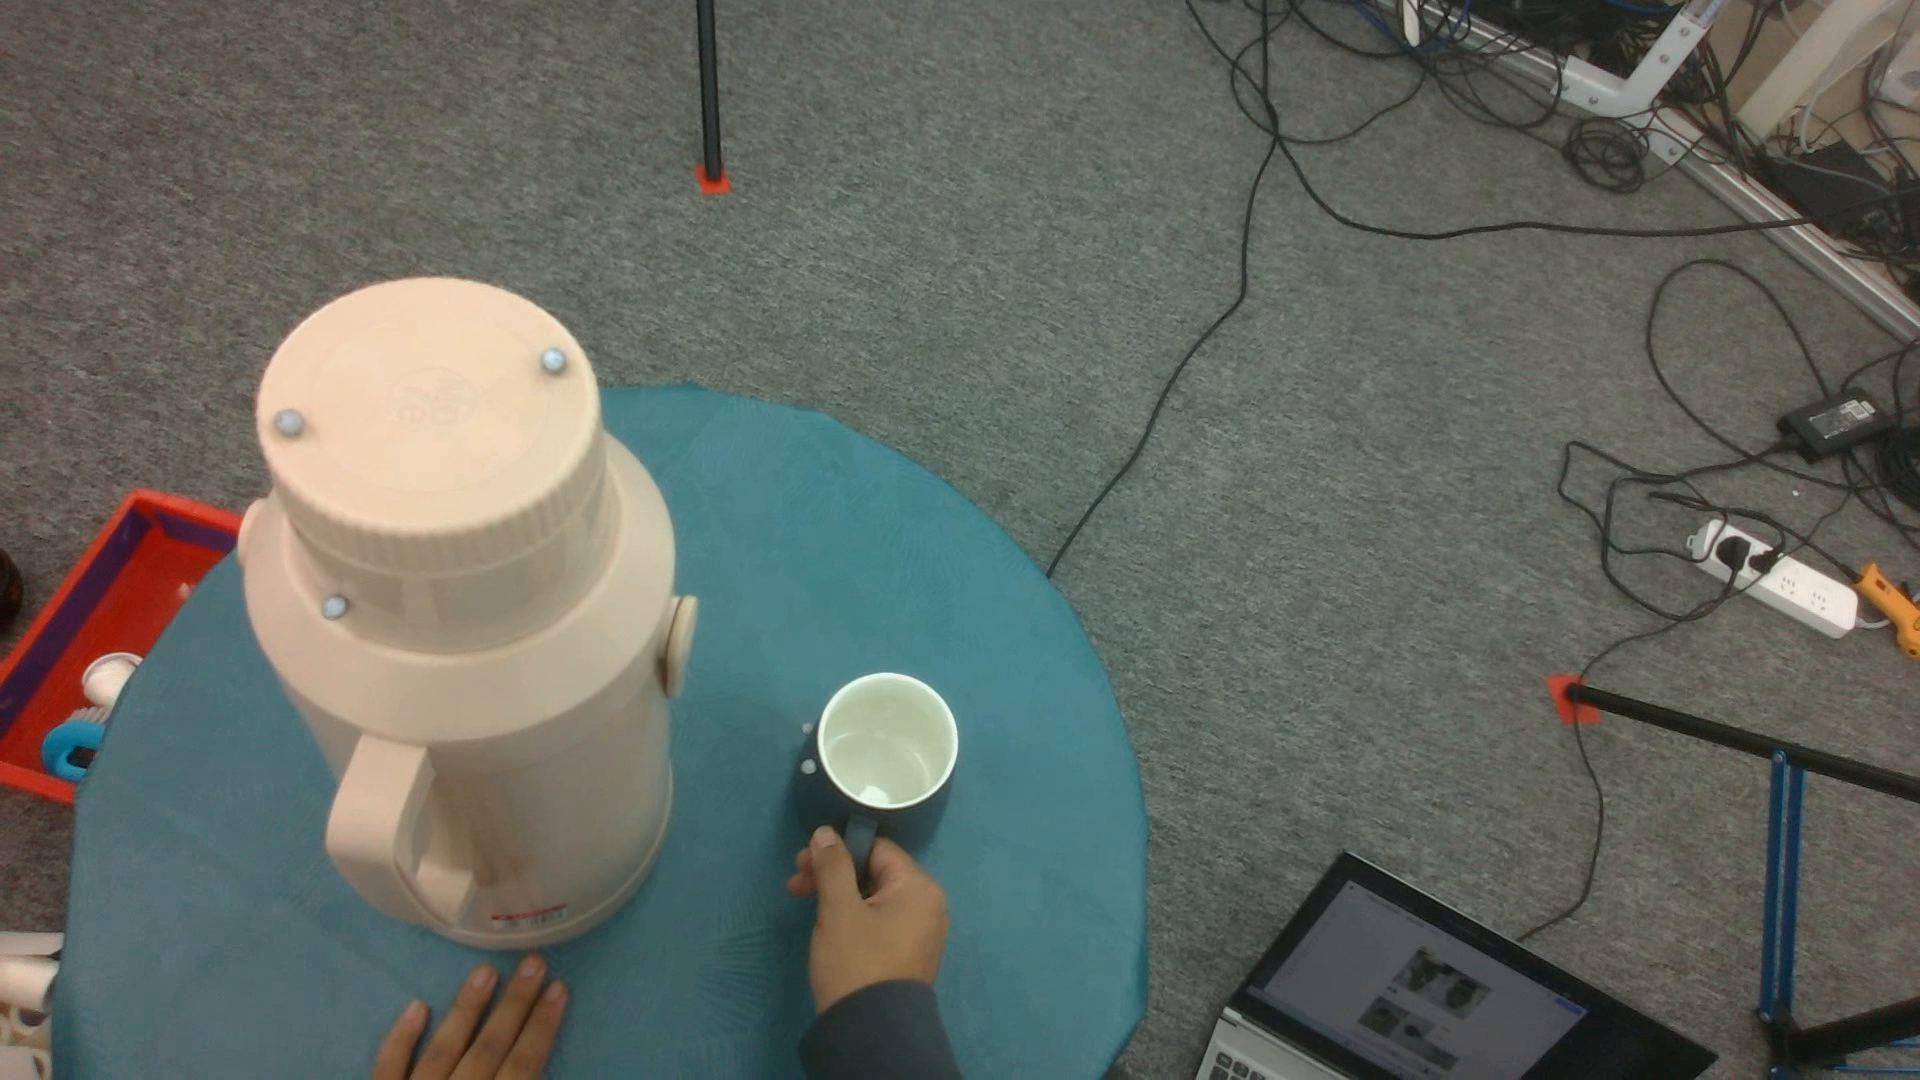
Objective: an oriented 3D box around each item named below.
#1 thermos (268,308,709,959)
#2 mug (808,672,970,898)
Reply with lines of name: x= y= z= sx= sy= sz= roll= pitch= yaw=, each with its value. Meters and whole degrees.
thermos: x=-0.207 y=0.075 z=0.626 sx=0.175 sy=0.404 sz=0.208 roll=10 pitch=58 yaw=-5
mug: x=-0.043 y=0.144 z=0.795 sx=0.093 sy=0.089 sz=0.124 roll=15 pitch=57 yaw=-1
